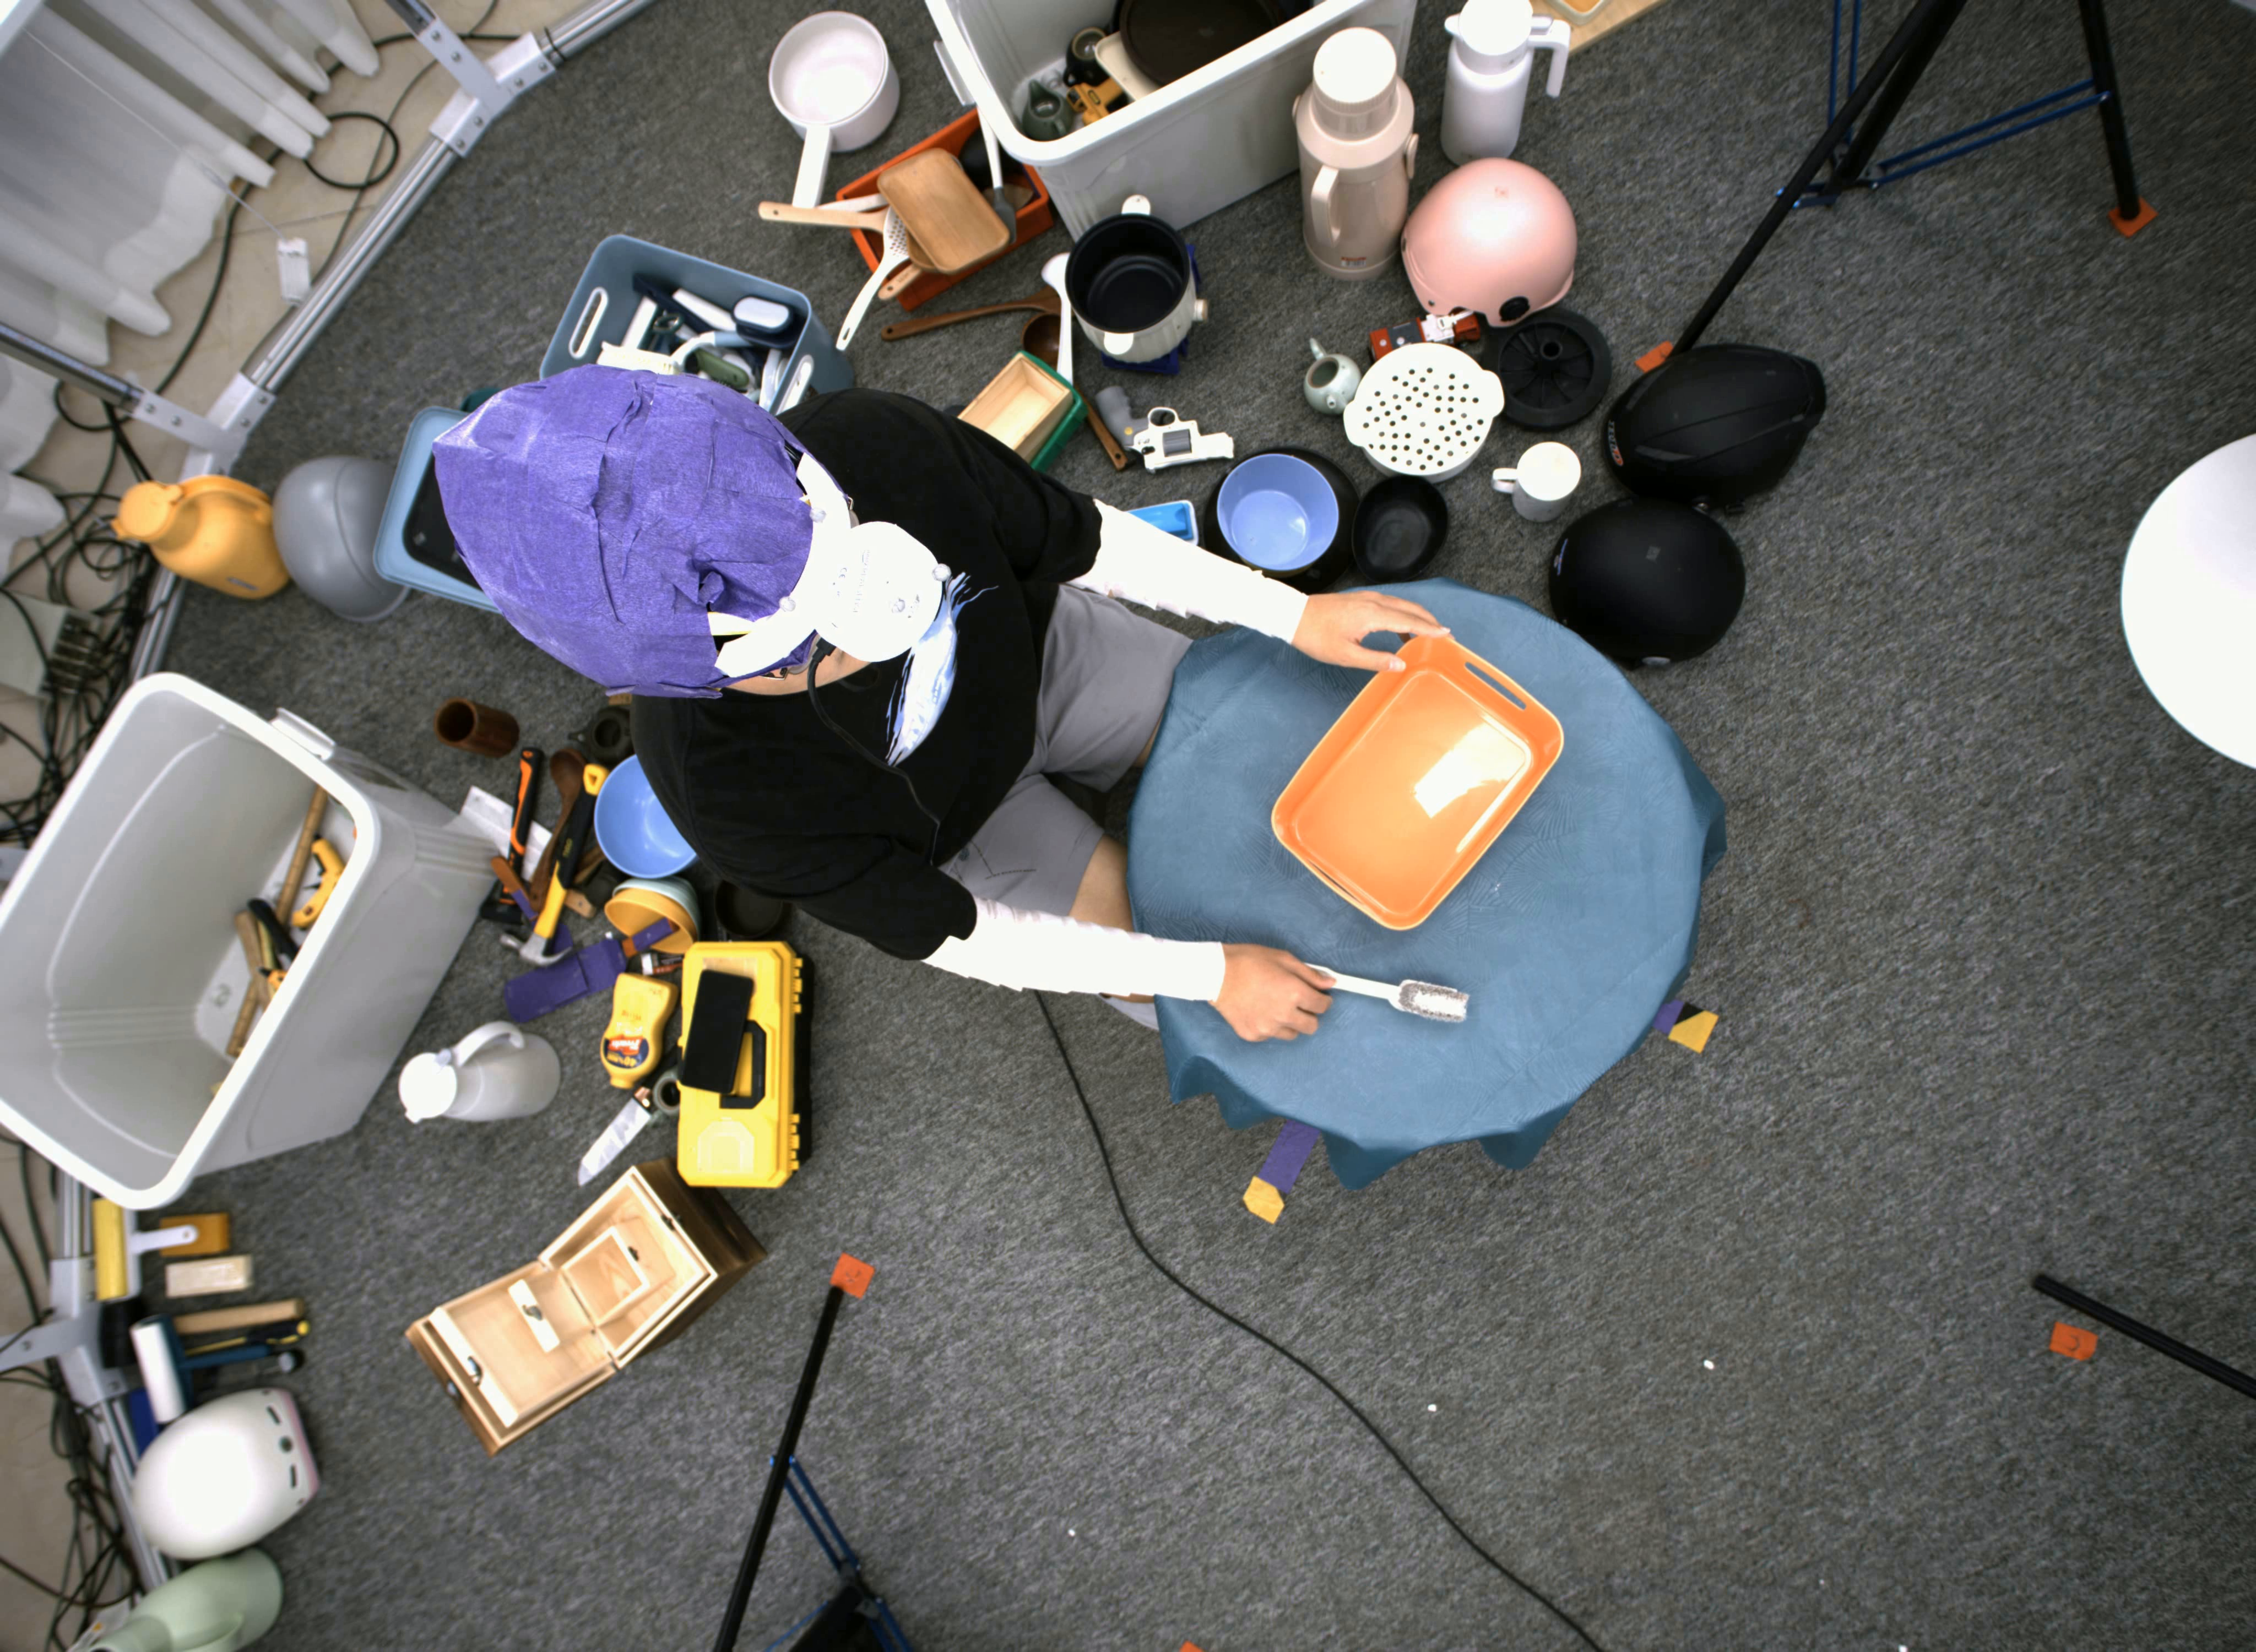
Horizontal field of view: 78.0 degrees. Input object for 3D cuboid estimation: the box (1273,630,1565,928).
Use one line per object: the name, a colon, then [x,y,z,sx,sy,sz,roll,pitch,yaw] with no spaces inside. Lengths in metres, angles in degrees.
box: [0.292,-0.045,1.406,0.199,0.102,0.274,39,94,10]

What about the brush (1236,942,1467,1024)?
brush: [0.228,0.159,1.437,0.244,0.050,0.034,14,91,11]
